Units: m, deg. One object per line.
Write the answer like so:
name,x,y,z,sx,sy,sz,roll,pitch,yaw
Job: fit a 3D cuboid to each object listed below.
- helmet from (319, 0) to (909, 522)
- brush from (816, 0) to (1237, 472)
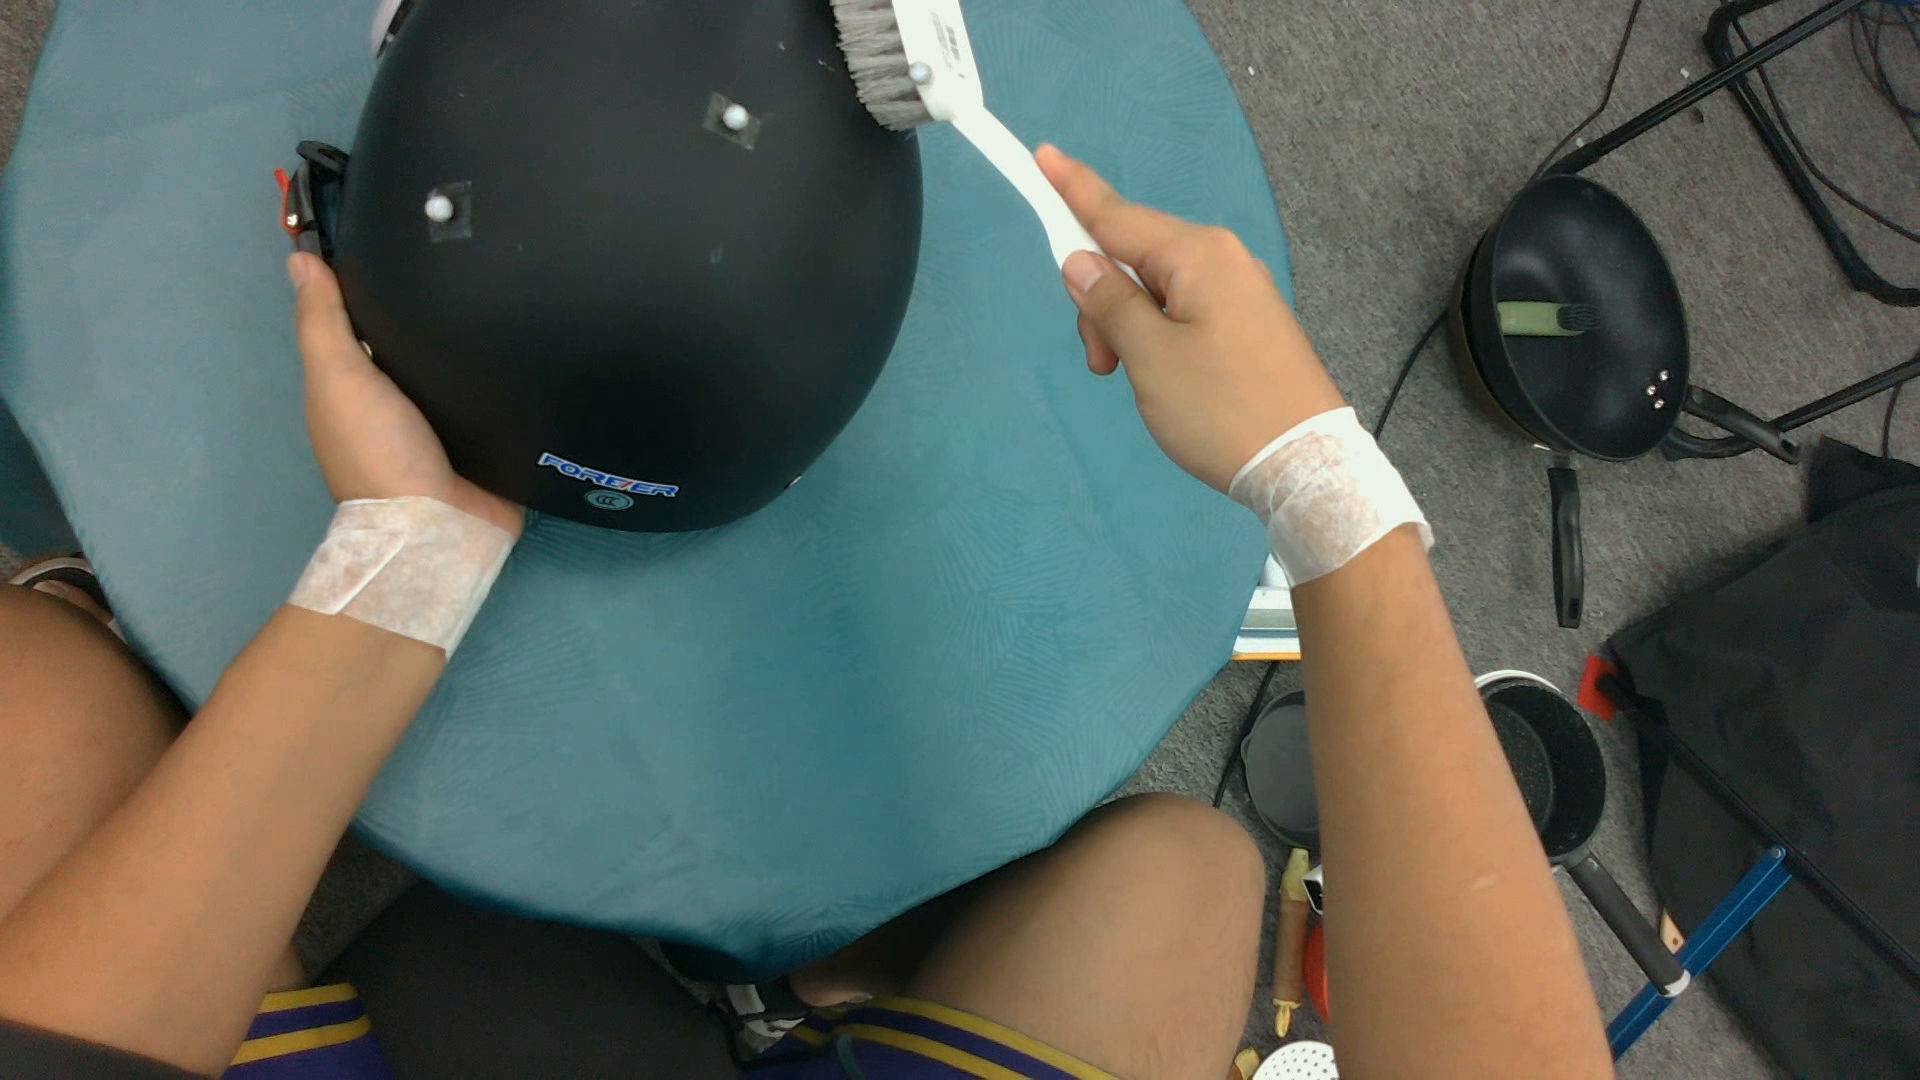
helmet,-0.120,-0.149,0.545,0.230,0.166,0.274,19,70,-27
brush,0.019,-0.119,0.508,0.243,0.050,0.034,58,27,3
